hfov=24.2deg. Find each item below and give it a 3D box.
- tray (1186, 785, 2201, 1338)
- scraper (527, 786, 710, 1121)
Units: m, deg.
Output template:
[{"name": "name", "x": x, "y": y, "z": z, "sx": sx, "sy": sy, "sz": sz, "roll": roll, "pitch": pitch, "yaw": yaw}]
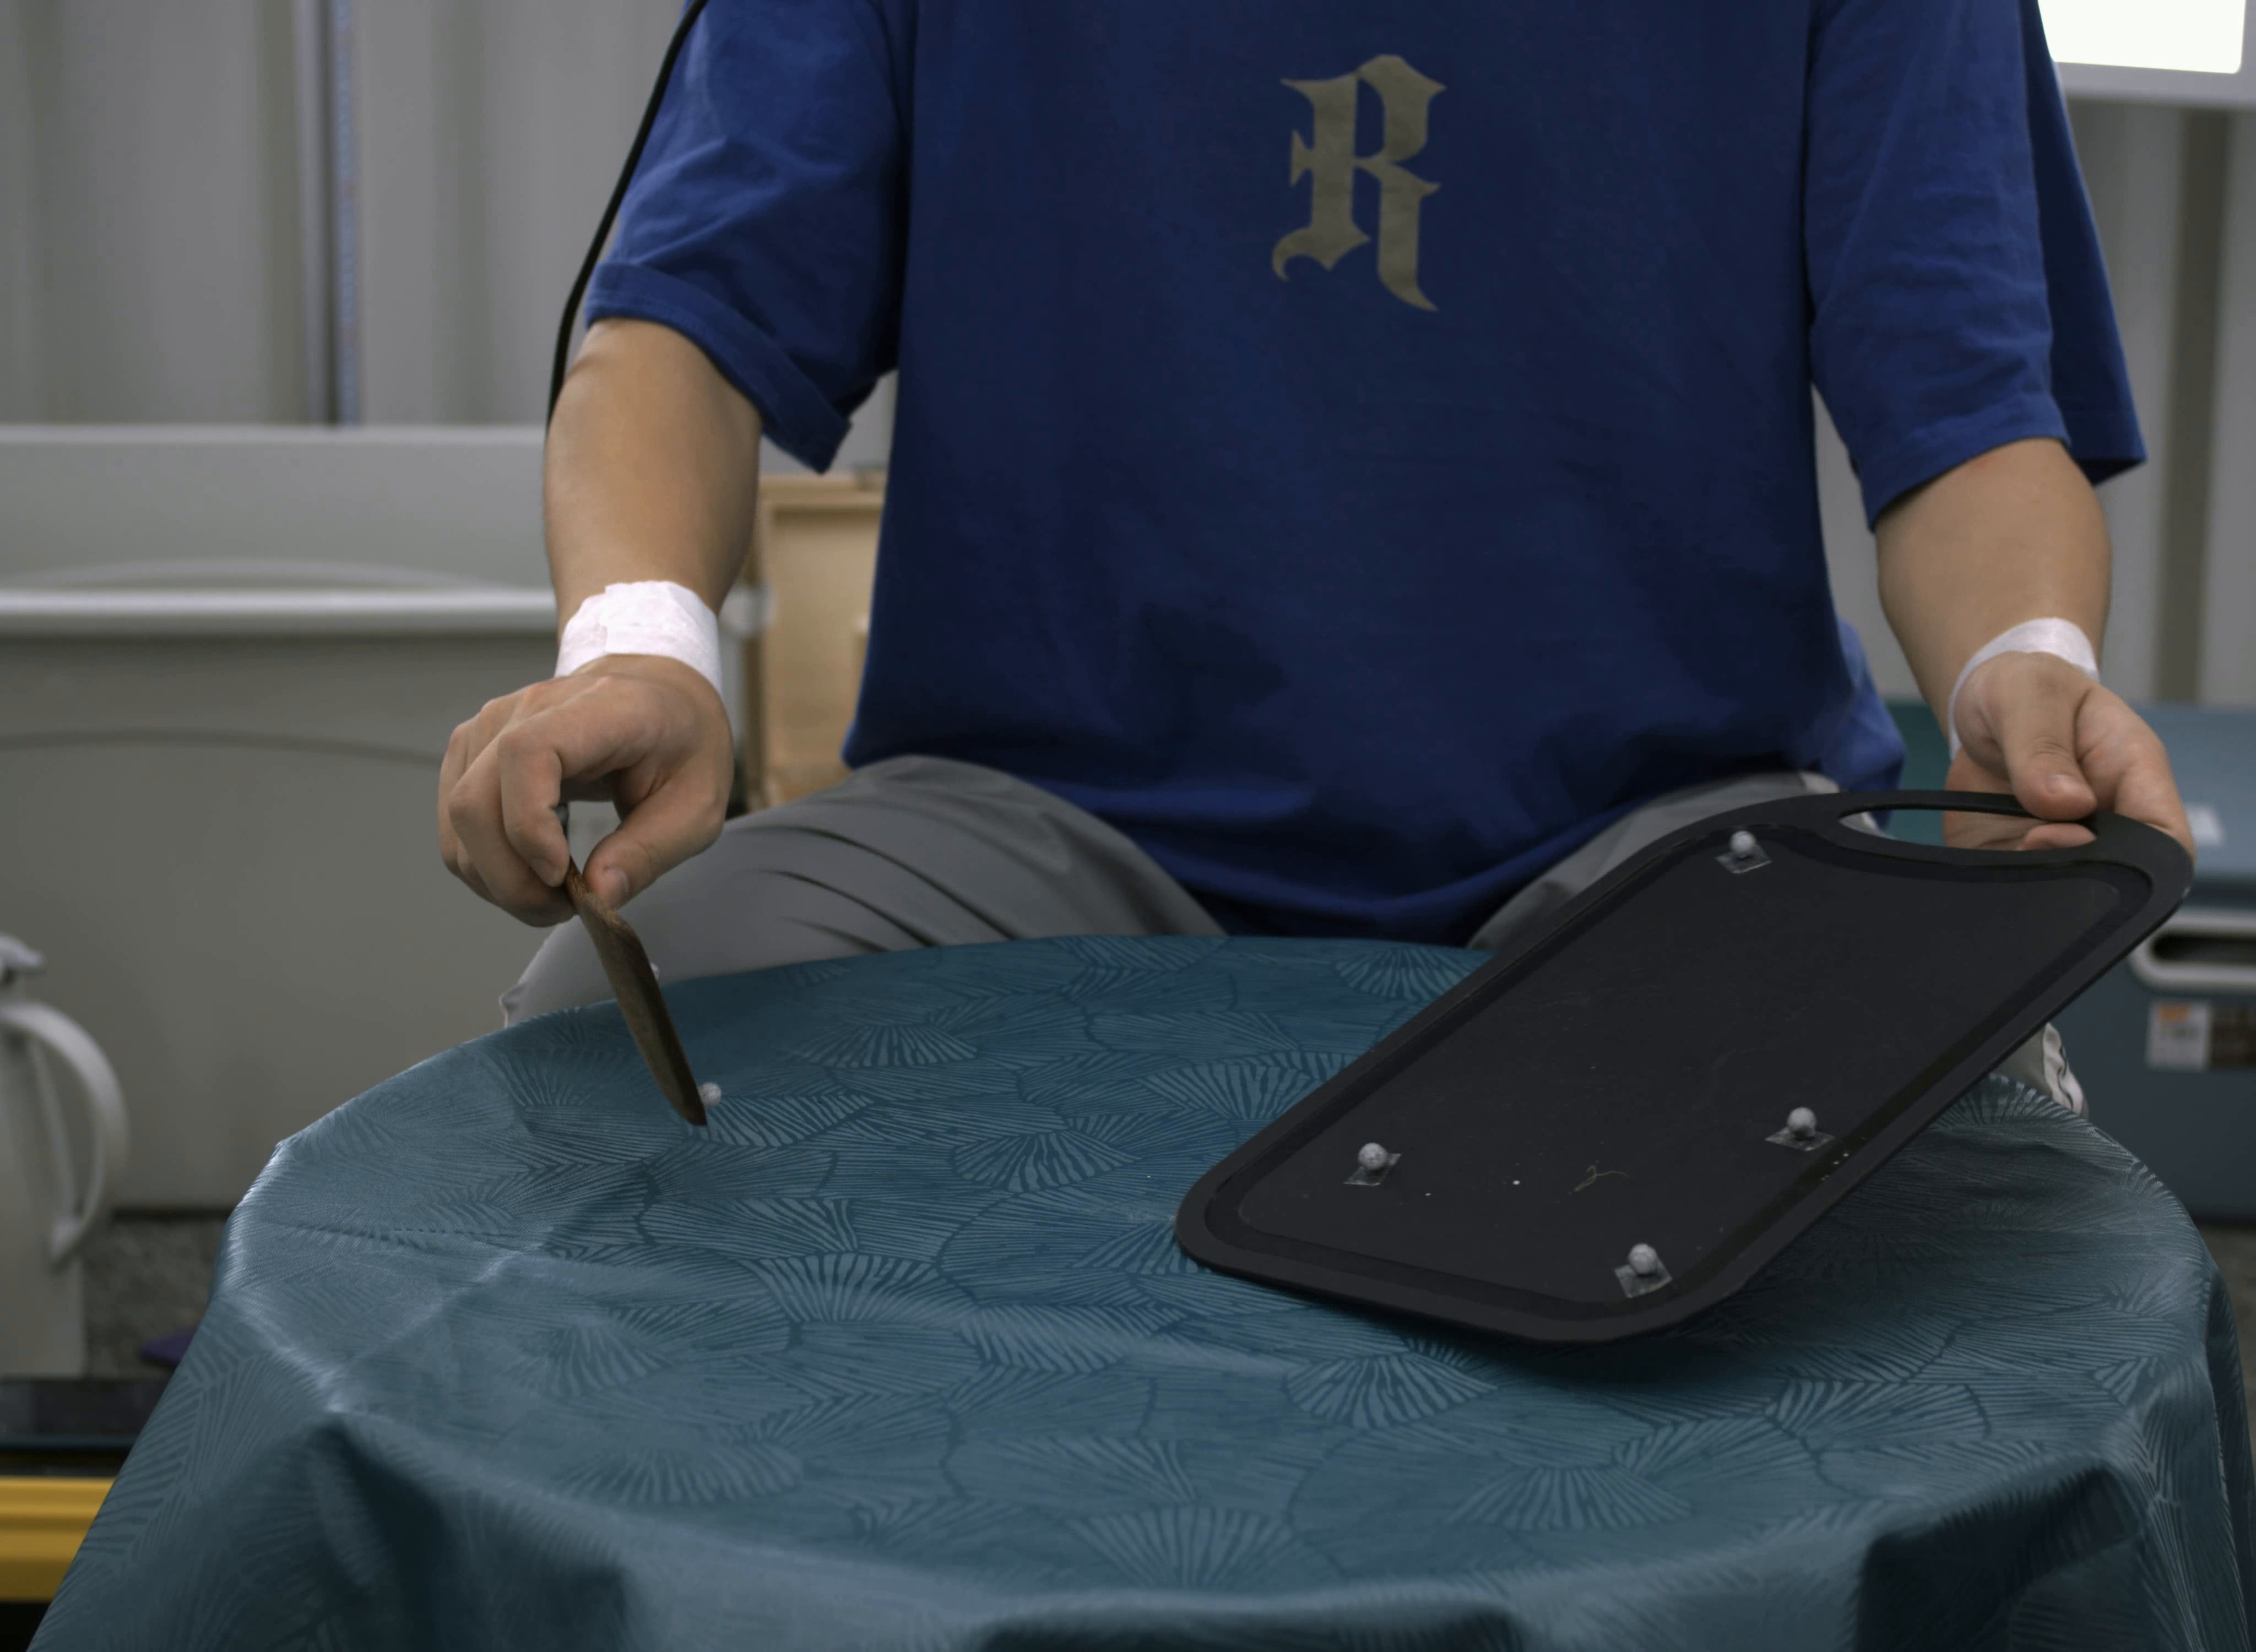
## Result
[{"name": "tray", "x": 0.178, "y": 0.061, "z": 1.608, "sx": 0.208, "sy": 0.010, "sz": 0.326, "roll": 9, "pitch": 33, "yaw": 45}, {"name": "scraper", "x": -0.170, "y": 0.030, "z": 1.684, "sx": 0.011, "sy": 0.077, "sz": 0.209, "roll": -25, "pitch": 24, "yaw": -7}]
